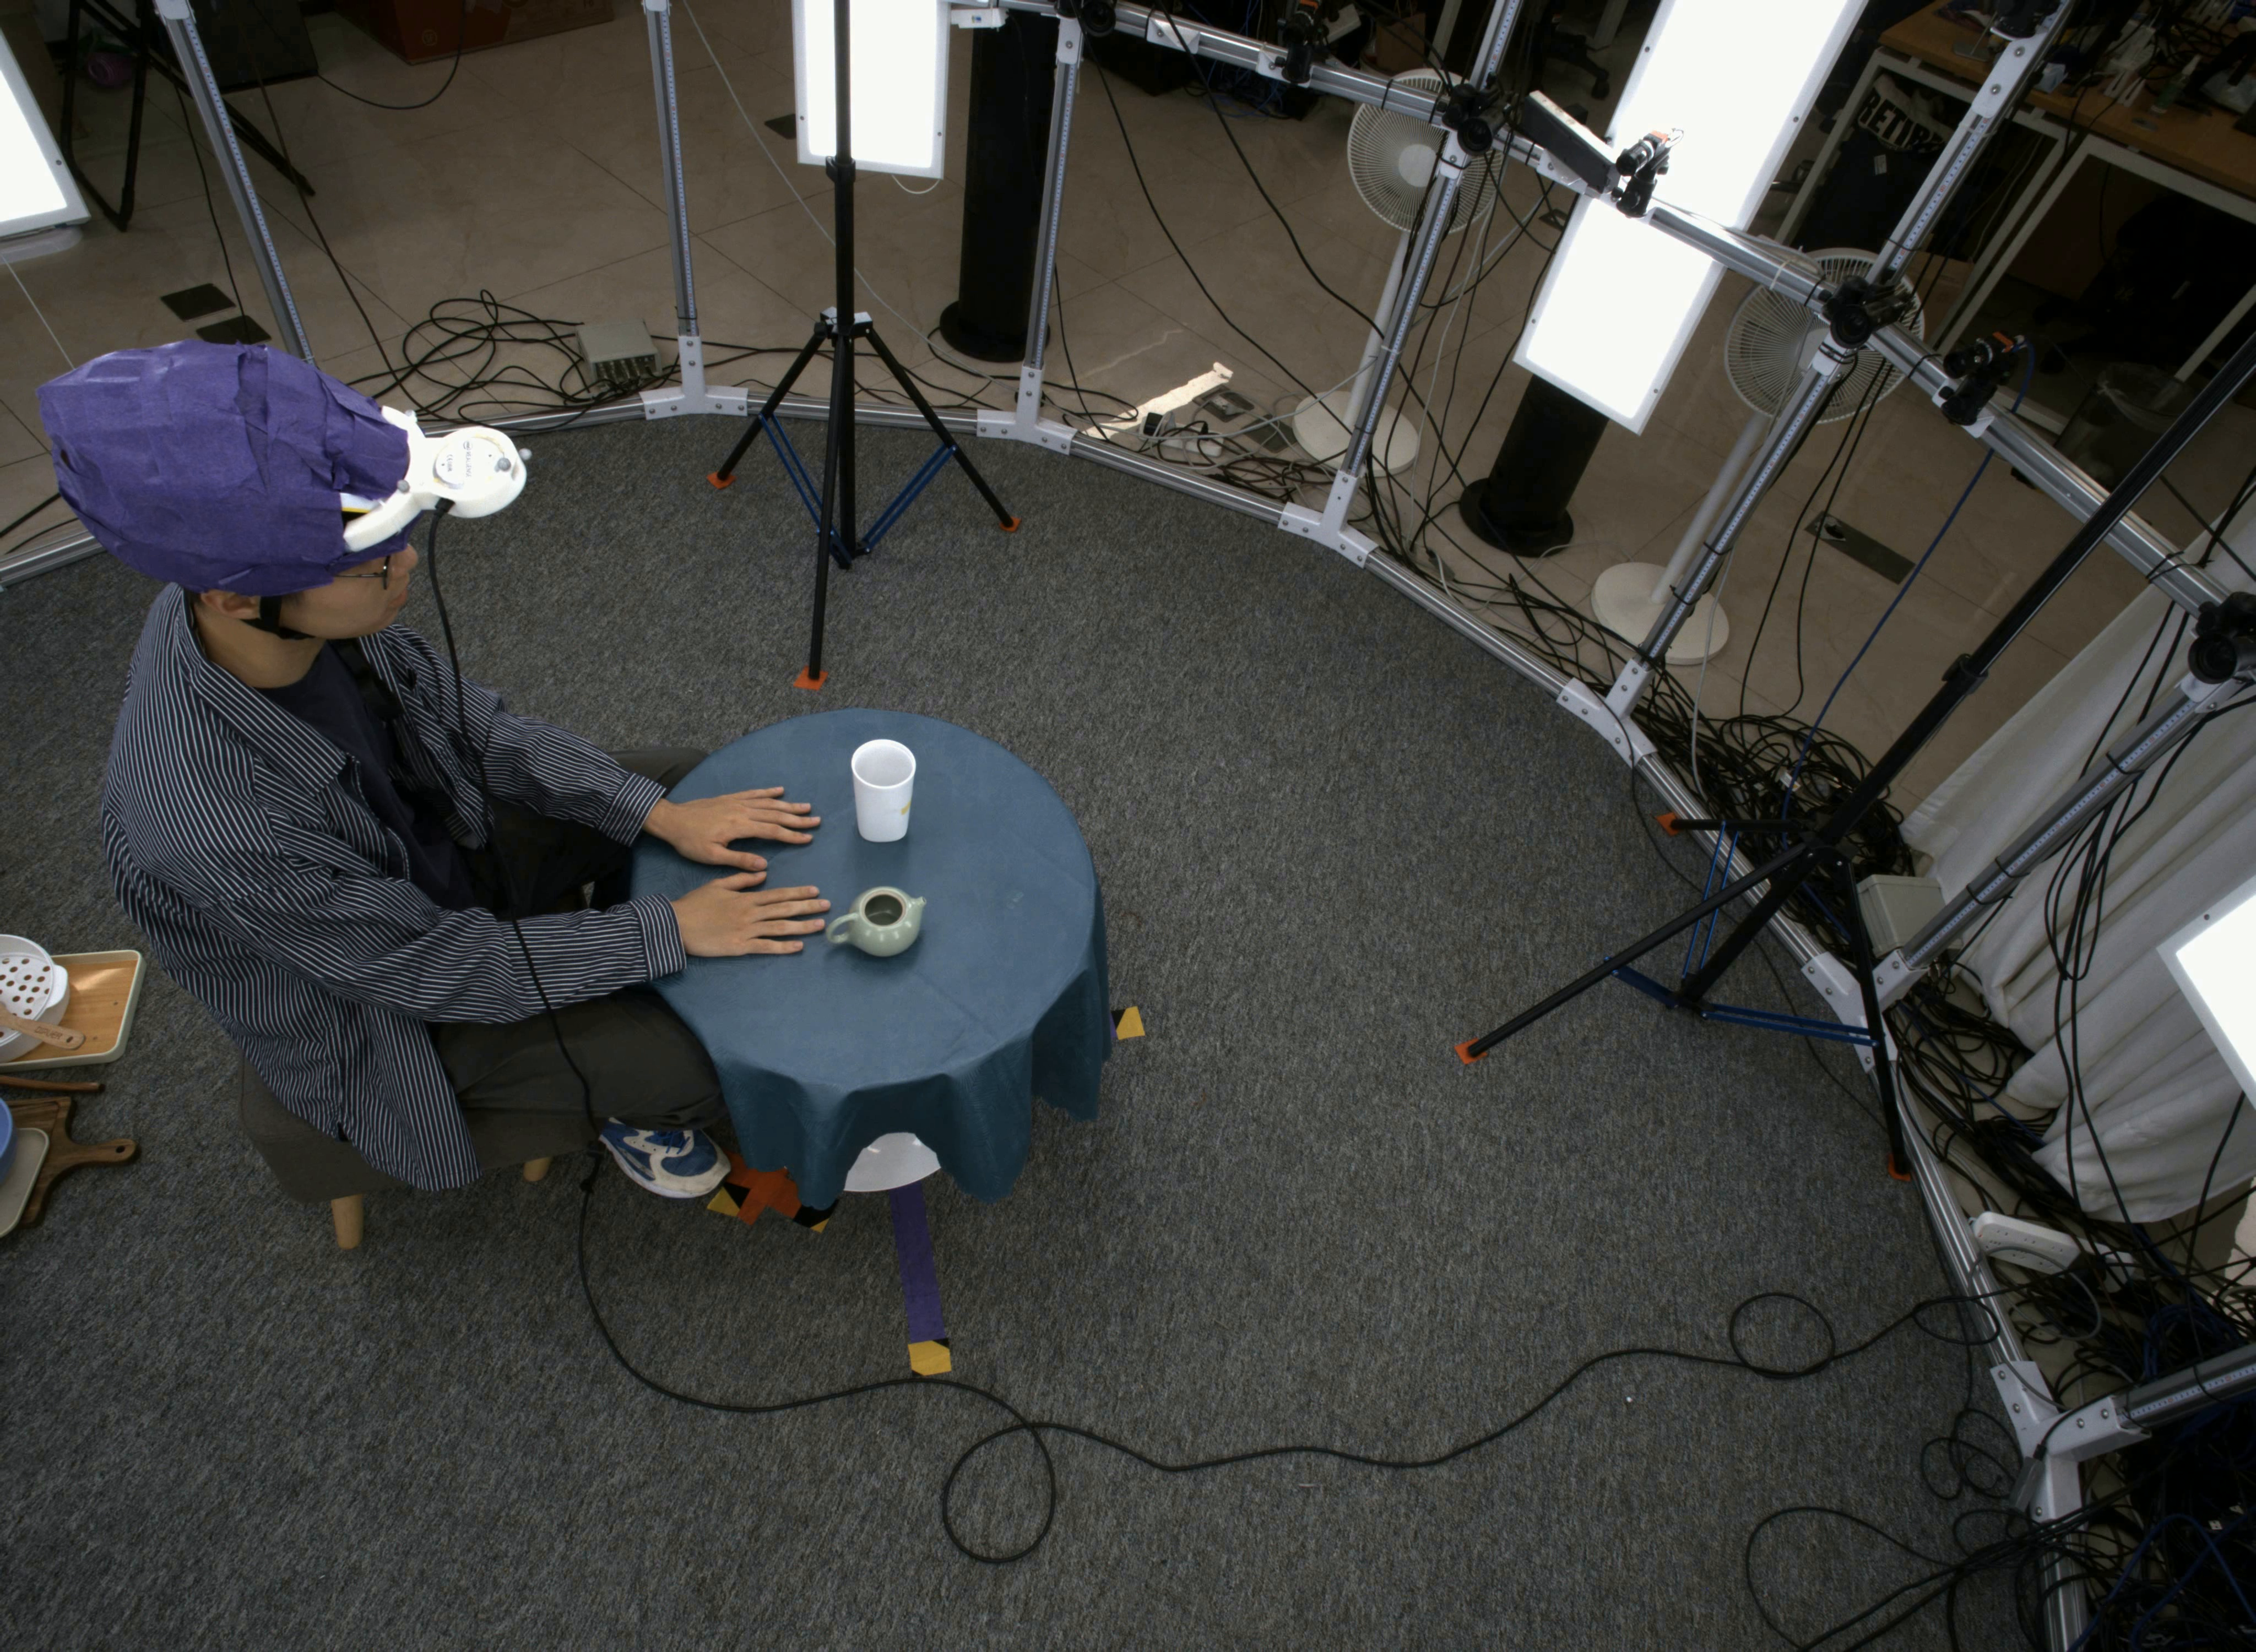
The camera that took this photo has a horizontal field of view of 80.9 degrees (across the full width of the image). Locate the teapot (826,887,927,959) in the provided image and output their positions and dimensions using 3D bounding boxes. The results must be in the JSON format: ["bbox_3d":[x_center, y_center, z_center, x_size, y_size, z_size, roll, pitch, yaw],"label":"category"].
[{"bbox_3d":[-0.316,0.122,1.639,0.129,0.062,0.089,-9,58,-18],"label":"teapot"}]

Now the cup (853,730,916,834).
[{"bbox_3d":[-0.322,-0.055,1.722,0.081,0.128,0.080,6,52,-7],"label":"cup"}]
